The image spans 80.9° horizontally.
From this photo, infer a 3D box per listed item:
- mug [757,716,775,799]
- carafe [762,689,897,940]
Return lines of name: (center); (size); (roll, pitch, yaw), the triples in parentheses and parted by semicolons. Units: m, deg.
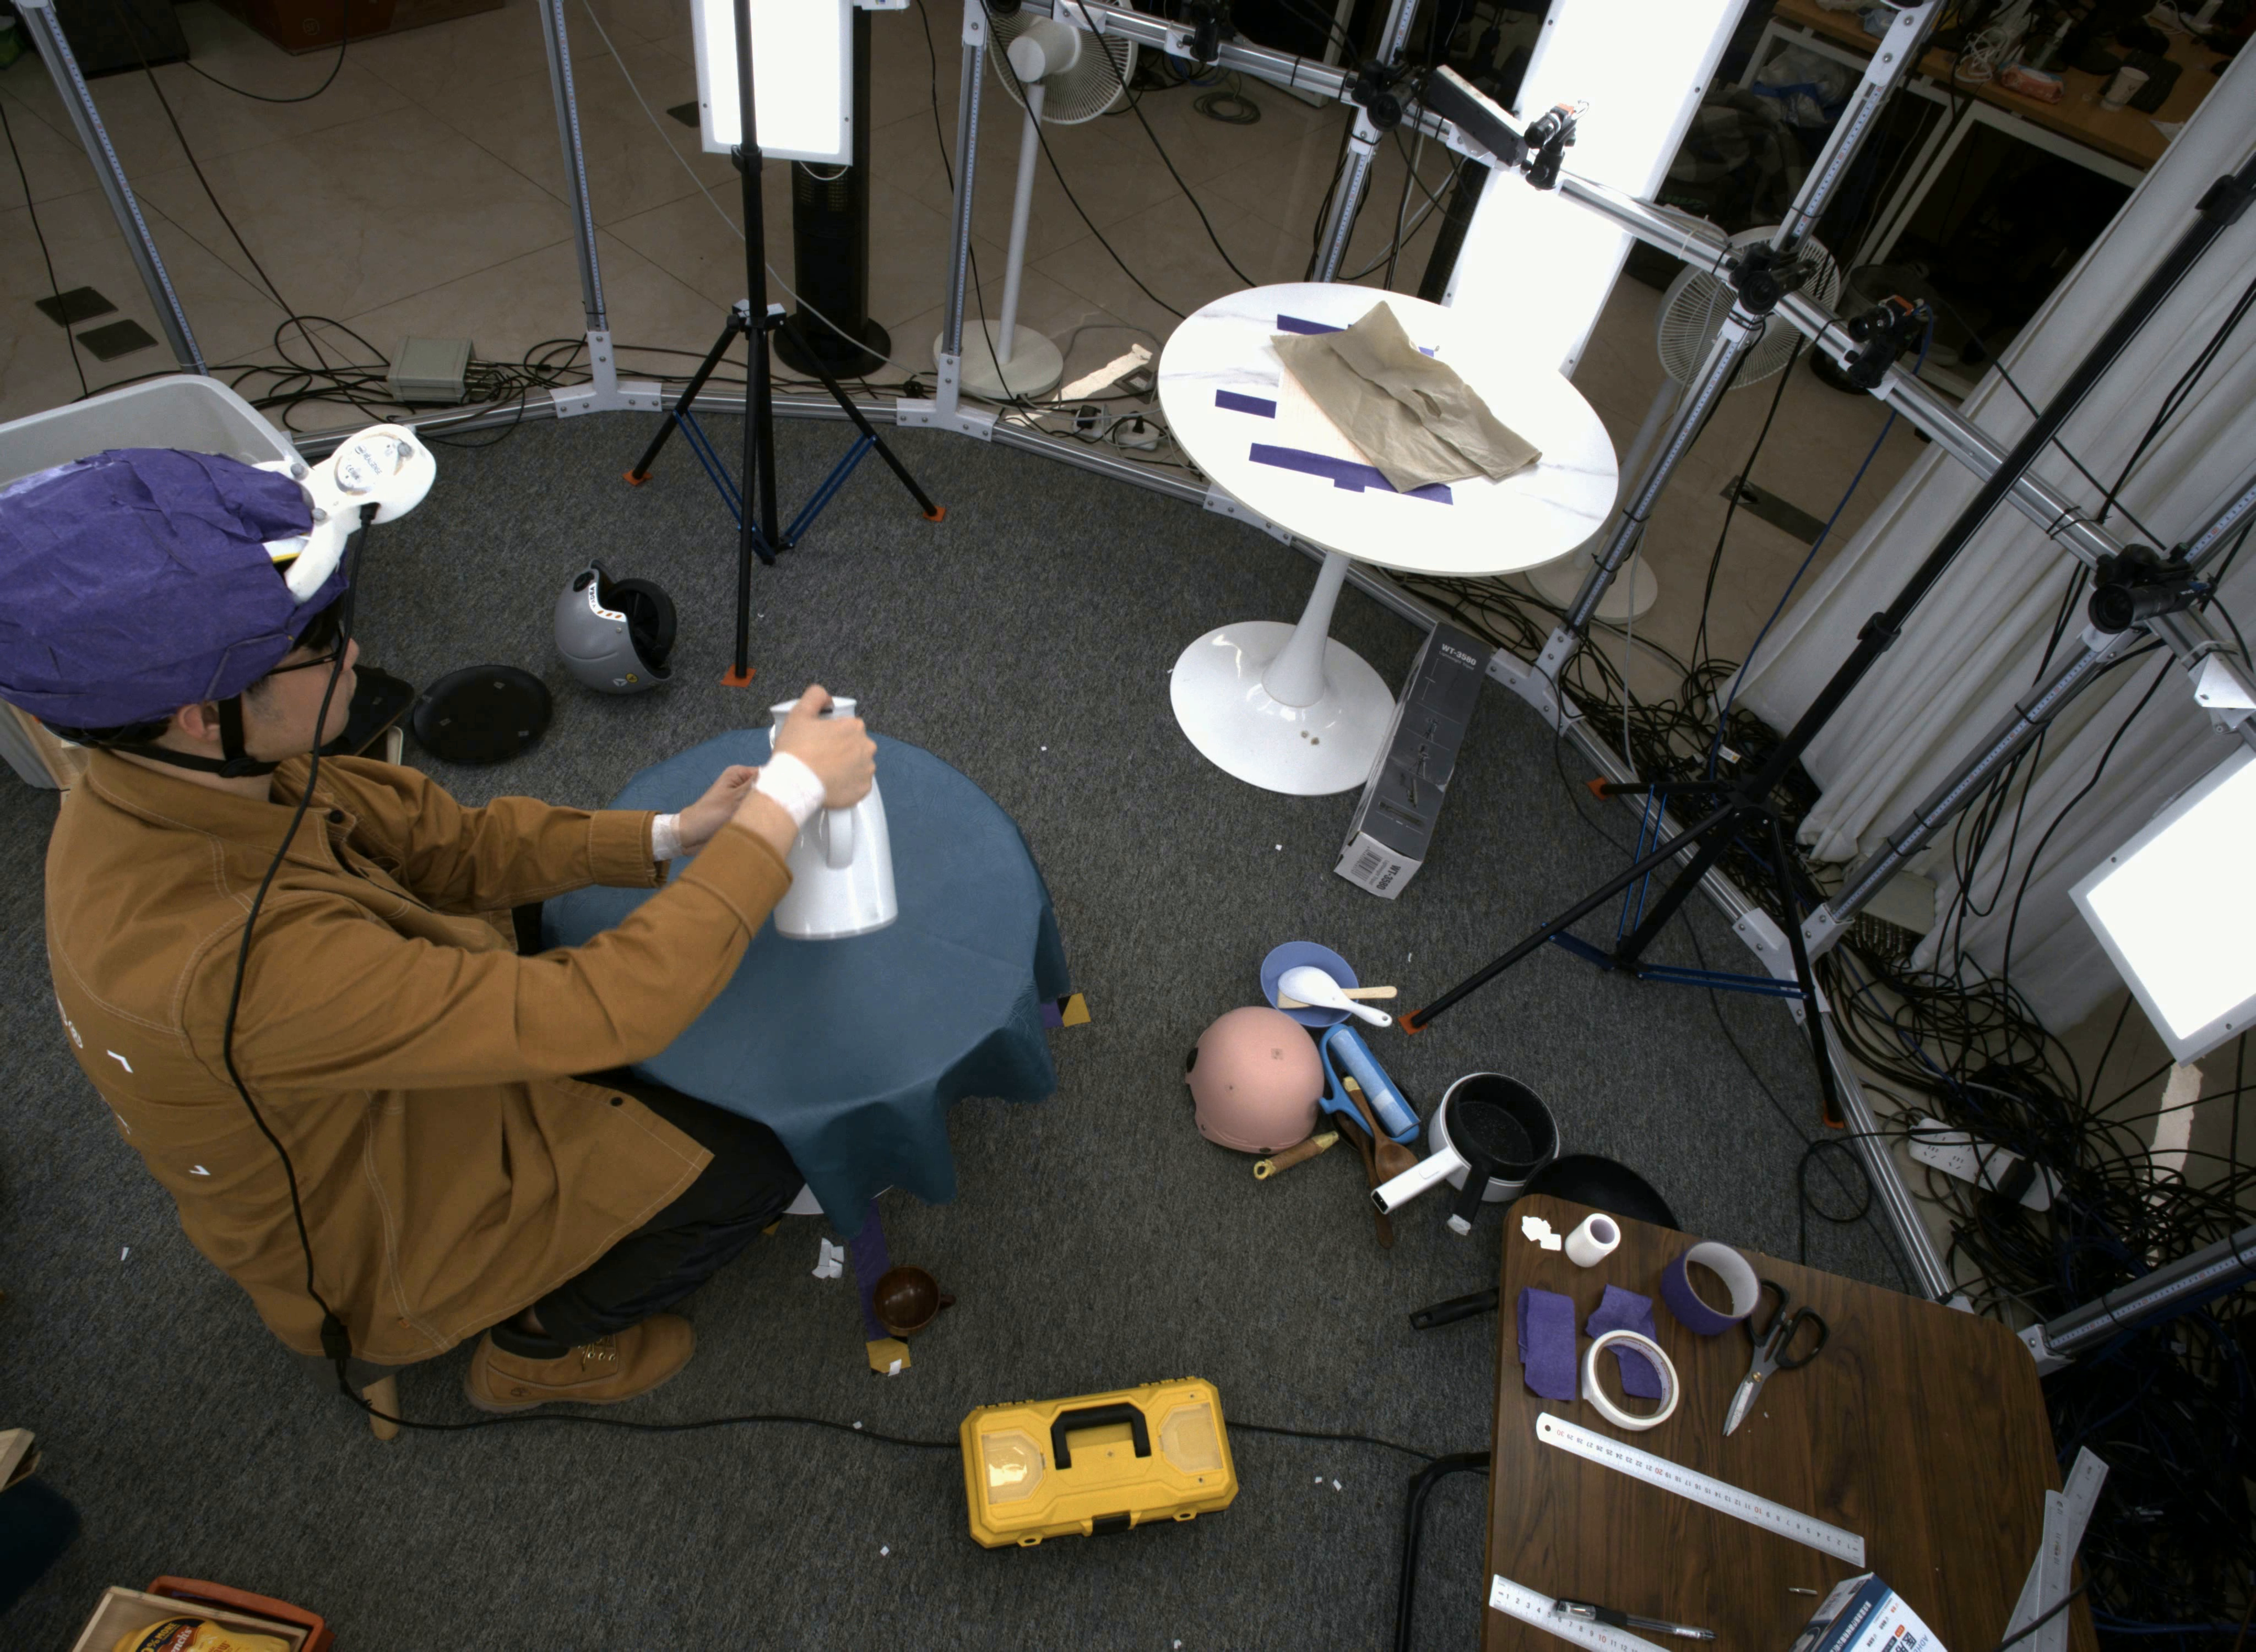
mug: (-0.394, -0.076, 1.545); (0.084, 0.103, 0.118); (38, 58, 9)
carafe: (-0.317, -0.016, 1.363); (0.133, 0.254, 0.163); (-9, 14, -23)
